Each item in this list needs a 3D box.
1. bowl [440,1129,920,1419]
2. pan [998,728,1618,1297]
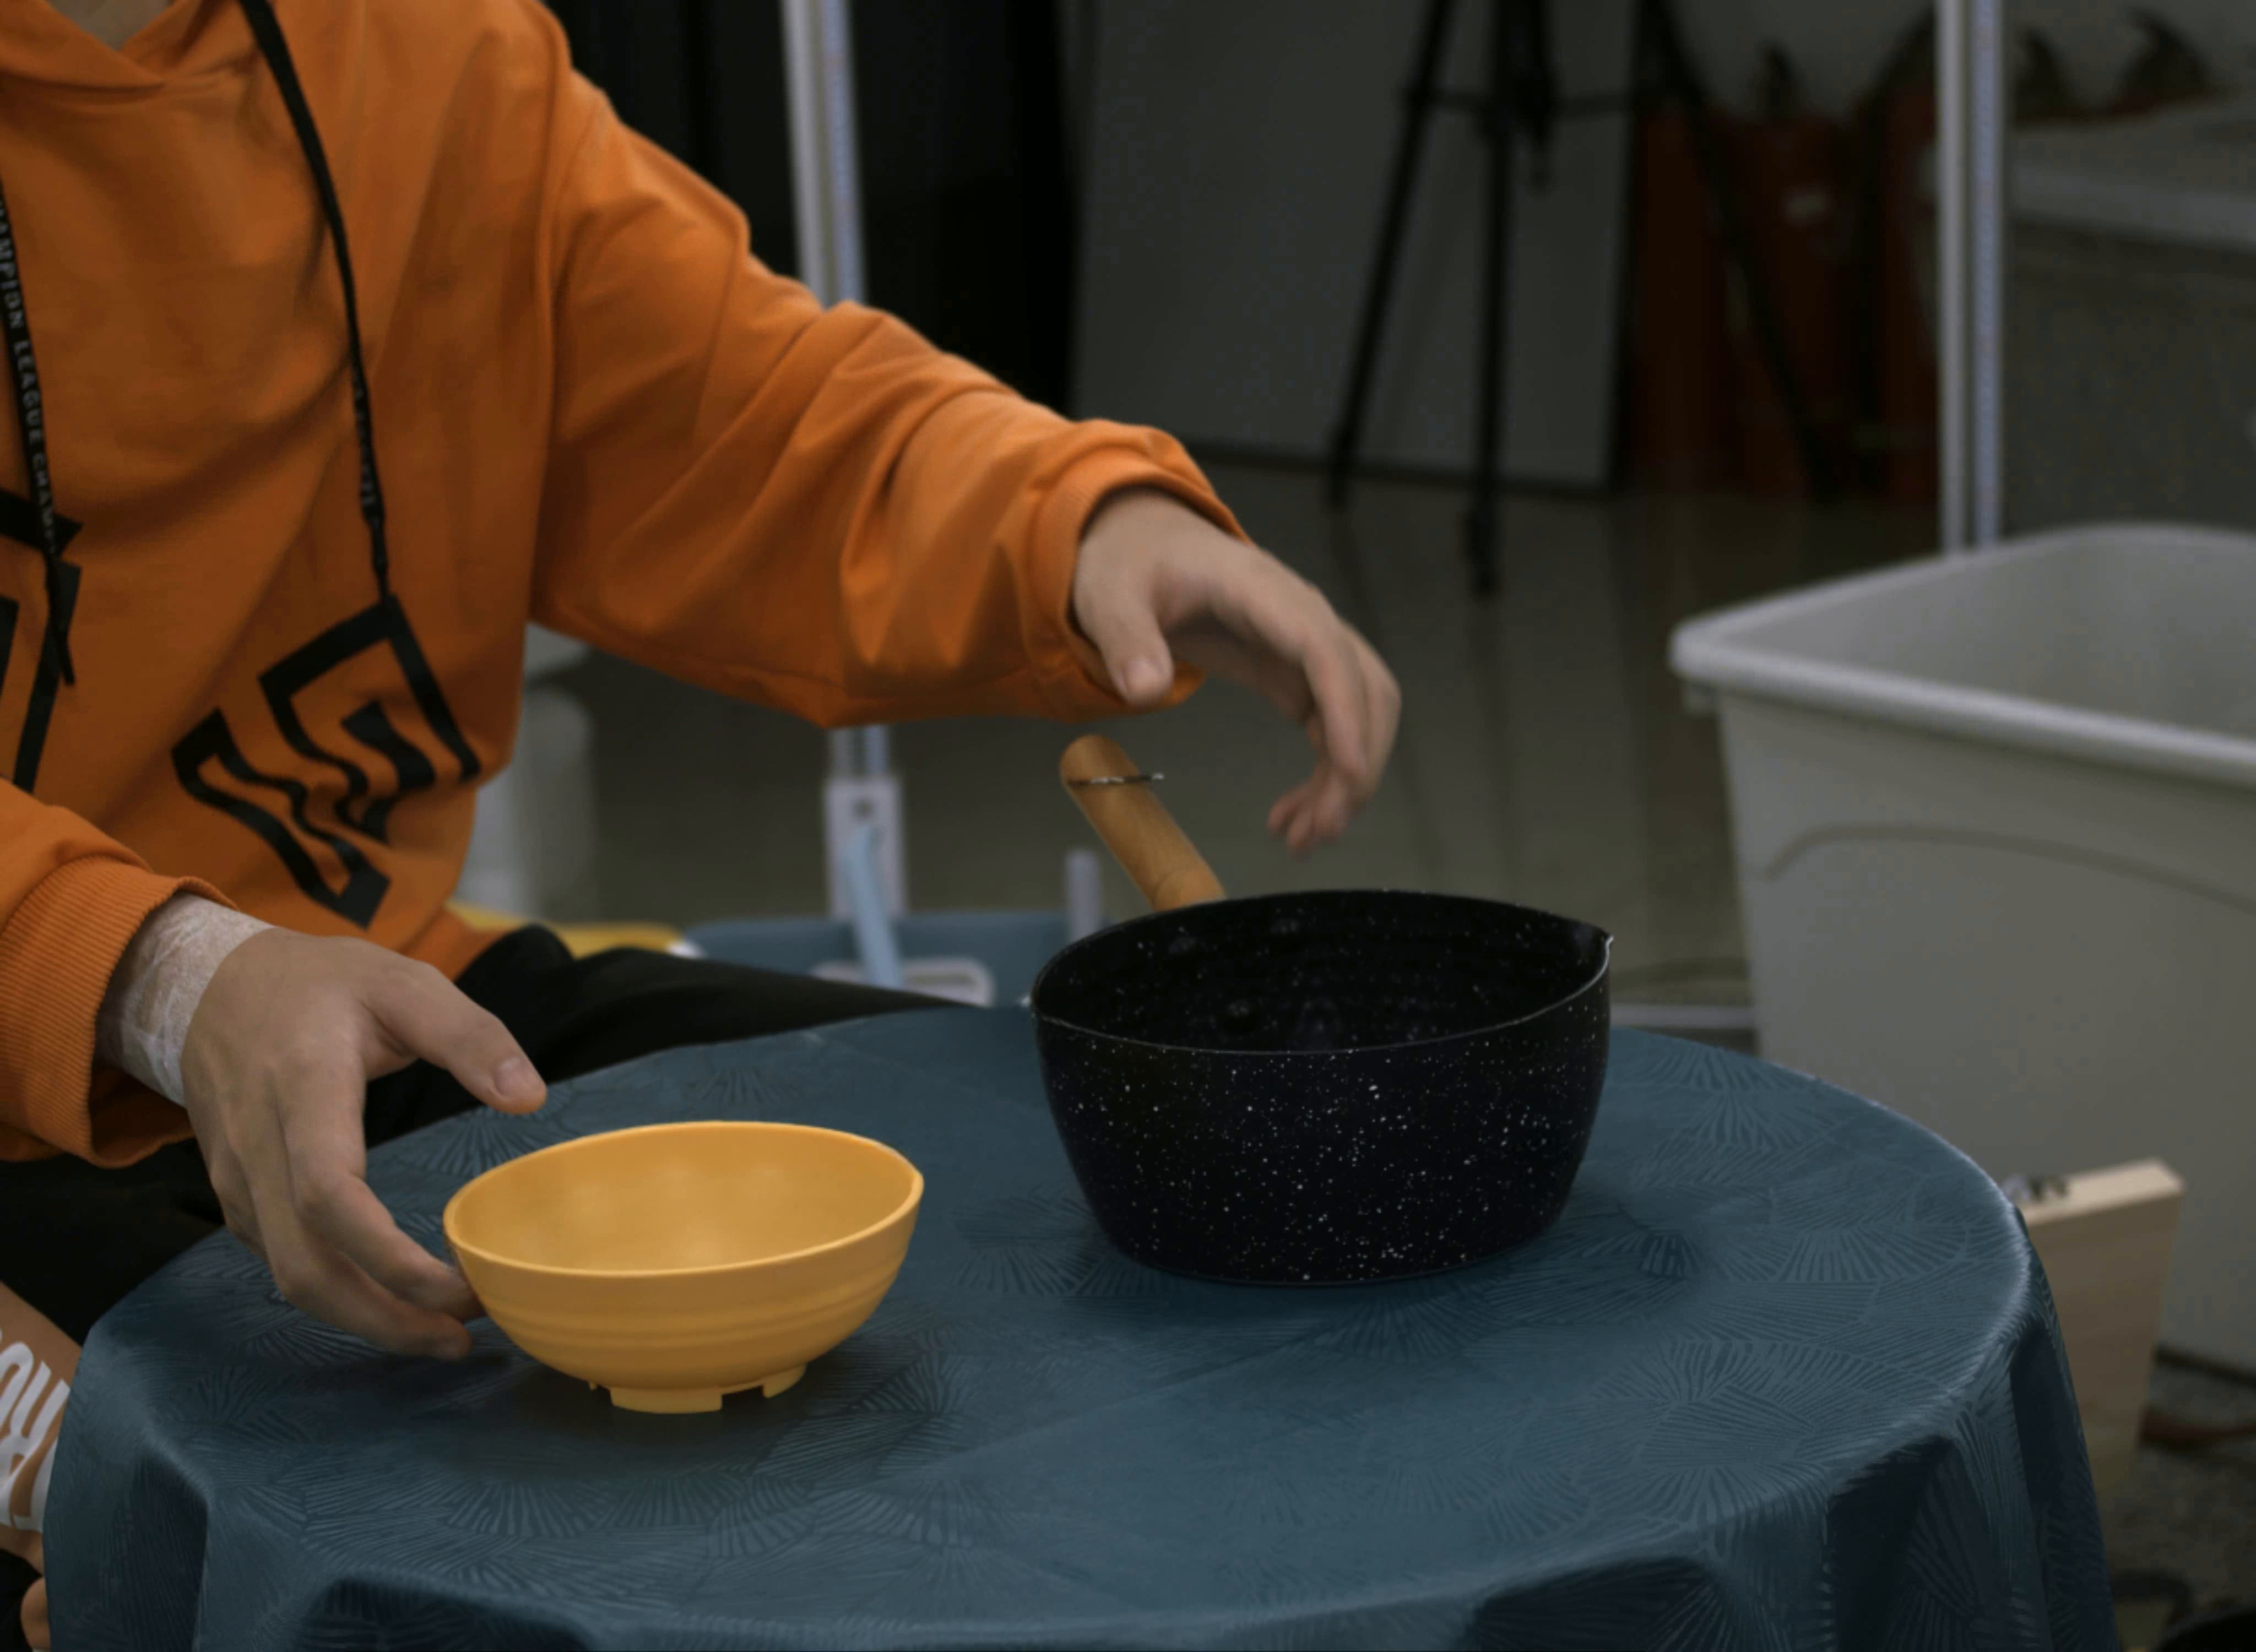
[{"bbox_3d":[-0.132,0.138,1.617,0.143,0.061,0.145,-3,13,0],"label":"bowl"},{"bbox_3d":[0.039,0.056,1.794,0.203,0.109,0.346,-10,16,-16],"label":"pan"}]
